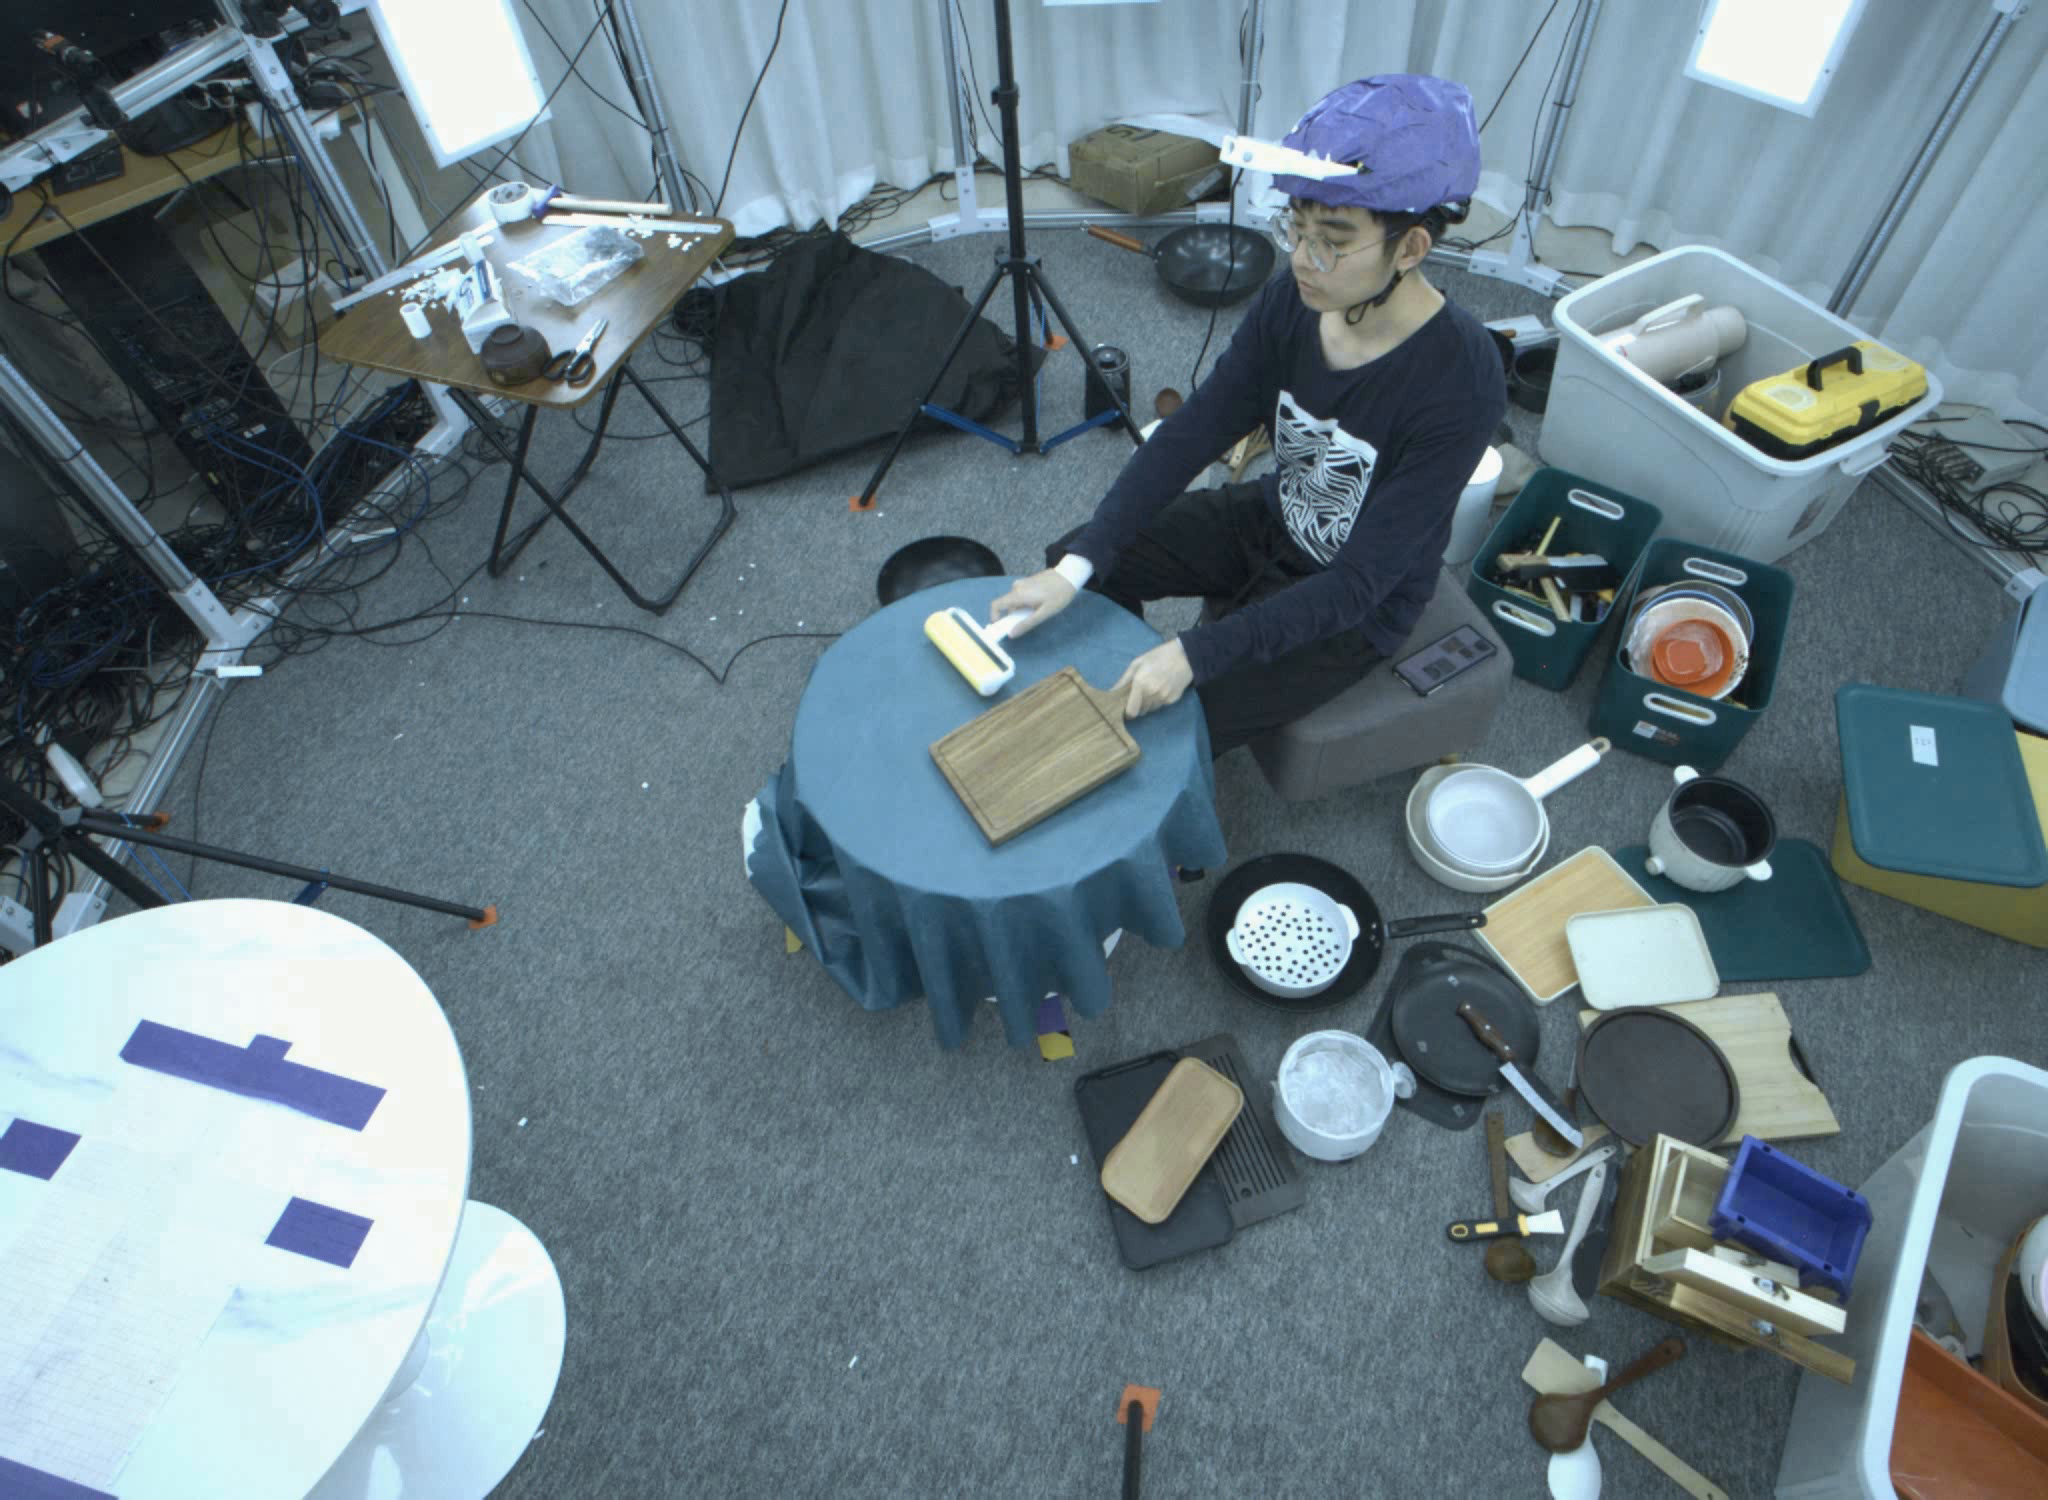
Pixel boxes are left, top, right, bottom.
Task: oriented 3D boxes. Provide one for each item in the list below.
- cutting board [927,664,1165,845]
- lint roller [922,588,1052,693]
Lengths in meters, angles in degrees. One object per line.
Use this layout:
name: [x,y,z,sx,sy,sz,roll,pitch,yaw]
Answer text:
cutting board: [0.055,-0.023,1.773,0.354,0.023,0.197,-31,60,-12]
lint roller: [-0.038,-0.196,1.876,0.192,0.052,0.170,-40,56,-7]
